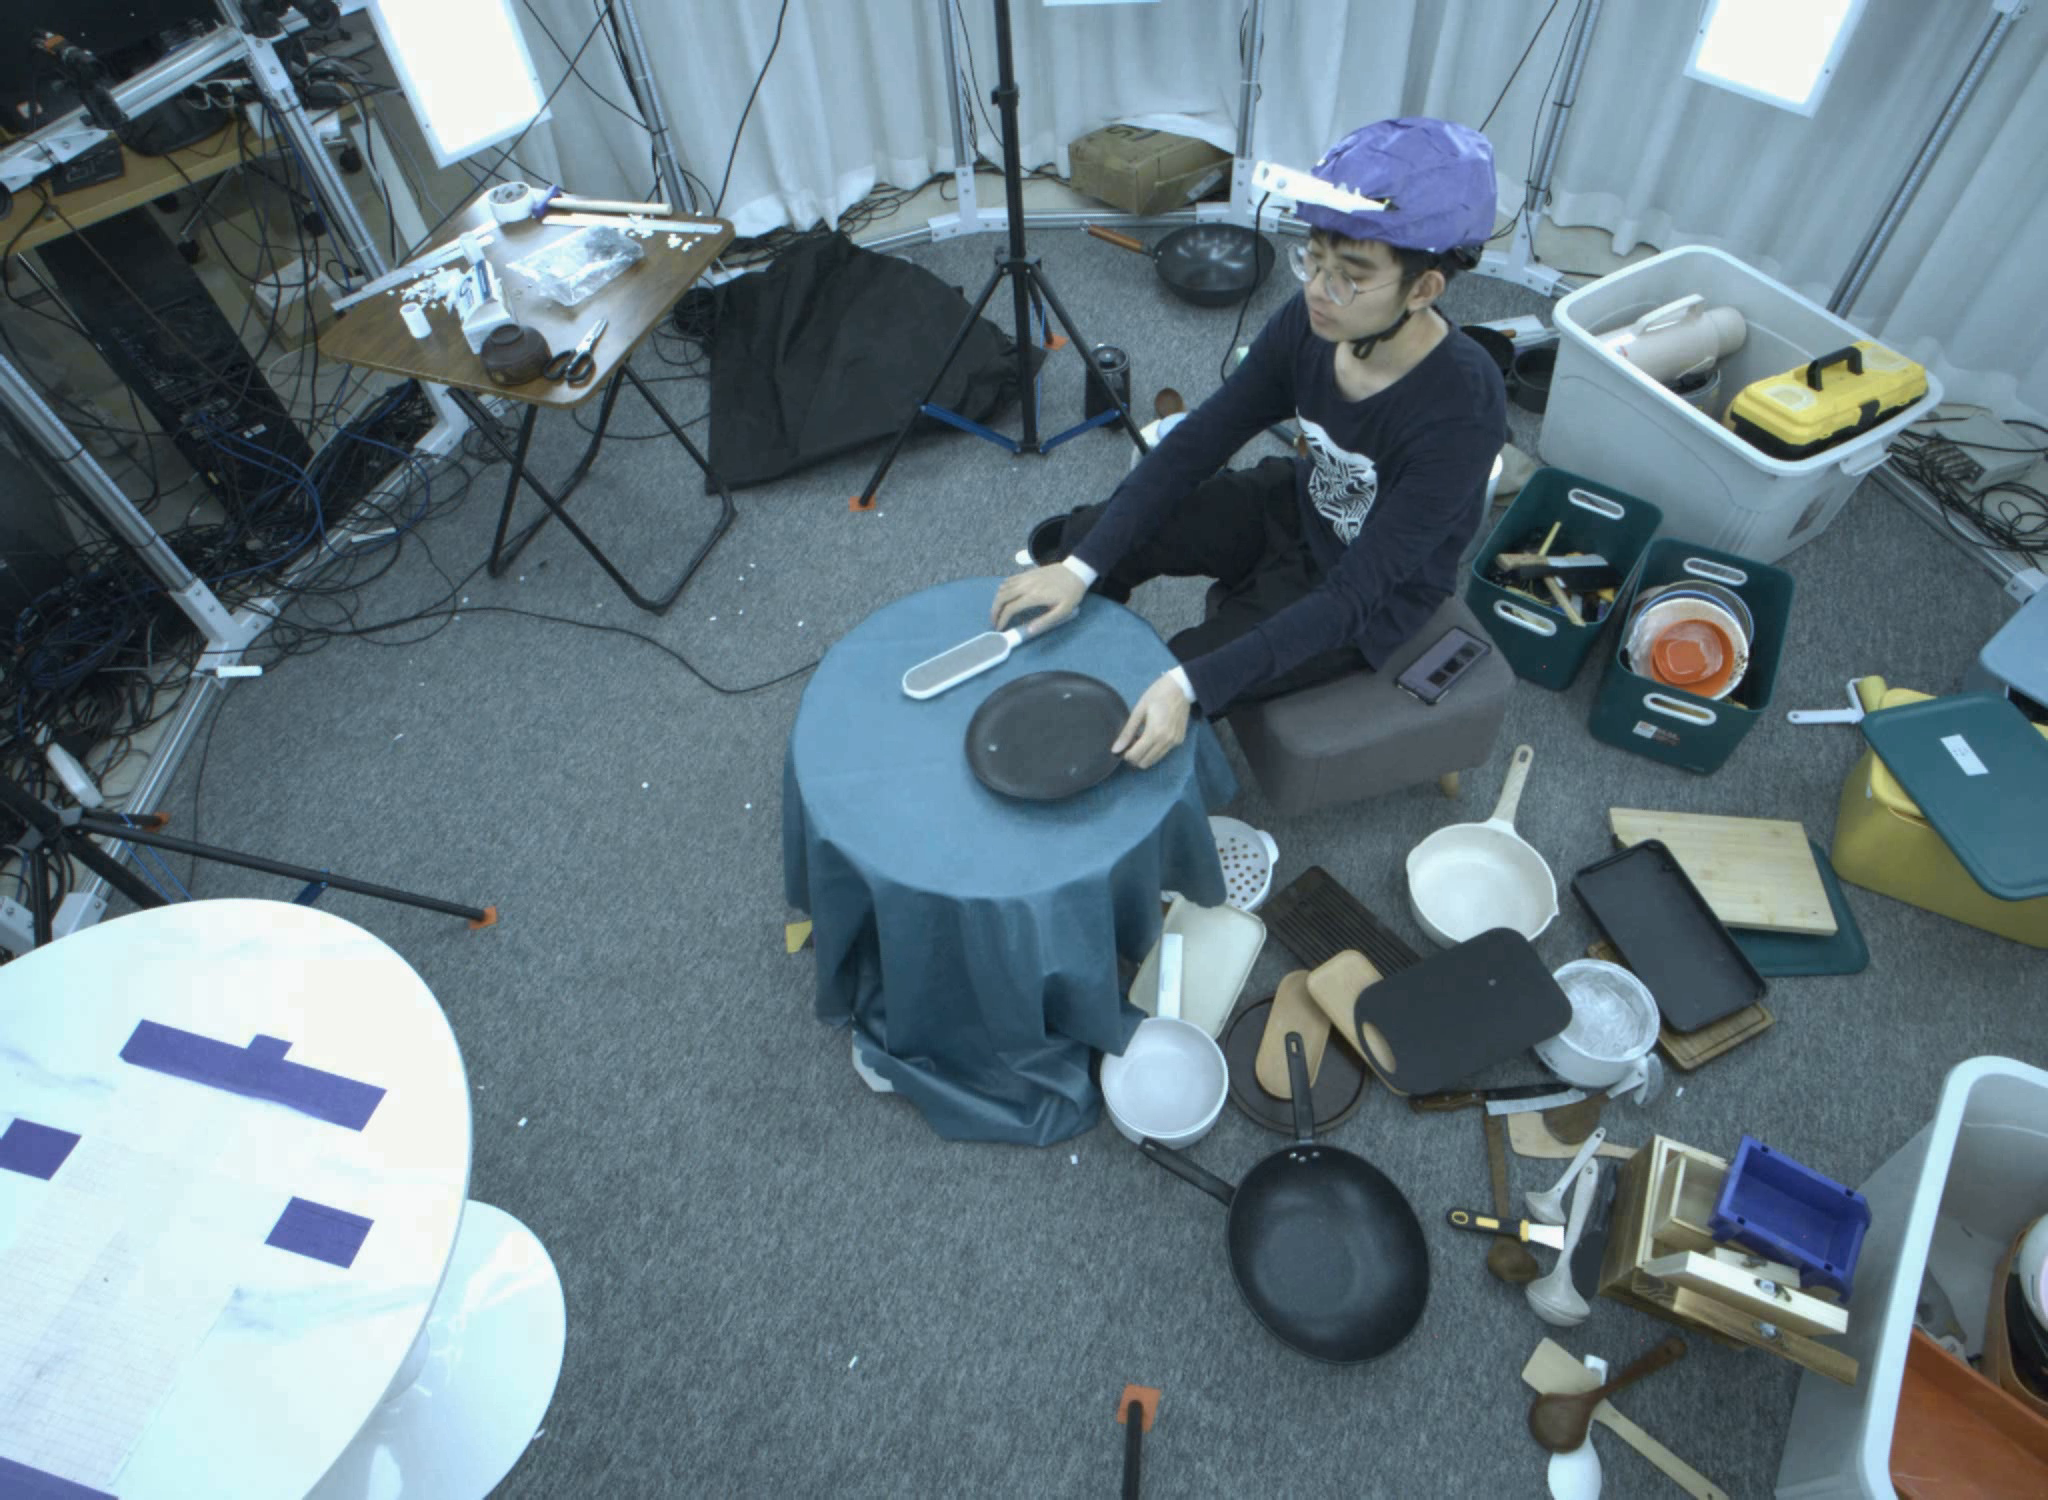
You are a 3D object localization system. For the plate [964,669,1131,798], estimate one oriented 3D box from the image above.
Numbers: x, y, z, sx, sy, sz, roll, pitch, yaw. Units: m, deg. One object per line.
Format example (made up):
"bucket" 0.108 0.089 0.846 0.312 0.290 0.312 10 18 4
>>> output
"plate" 0.034 -0.022 1.784 0.243 0.024 0.242 -4 51 6

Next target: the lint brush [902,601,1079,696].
"lint brush" -0.048 -0.160 1.894 0.311 0.021 0.059 -27 53 -17
